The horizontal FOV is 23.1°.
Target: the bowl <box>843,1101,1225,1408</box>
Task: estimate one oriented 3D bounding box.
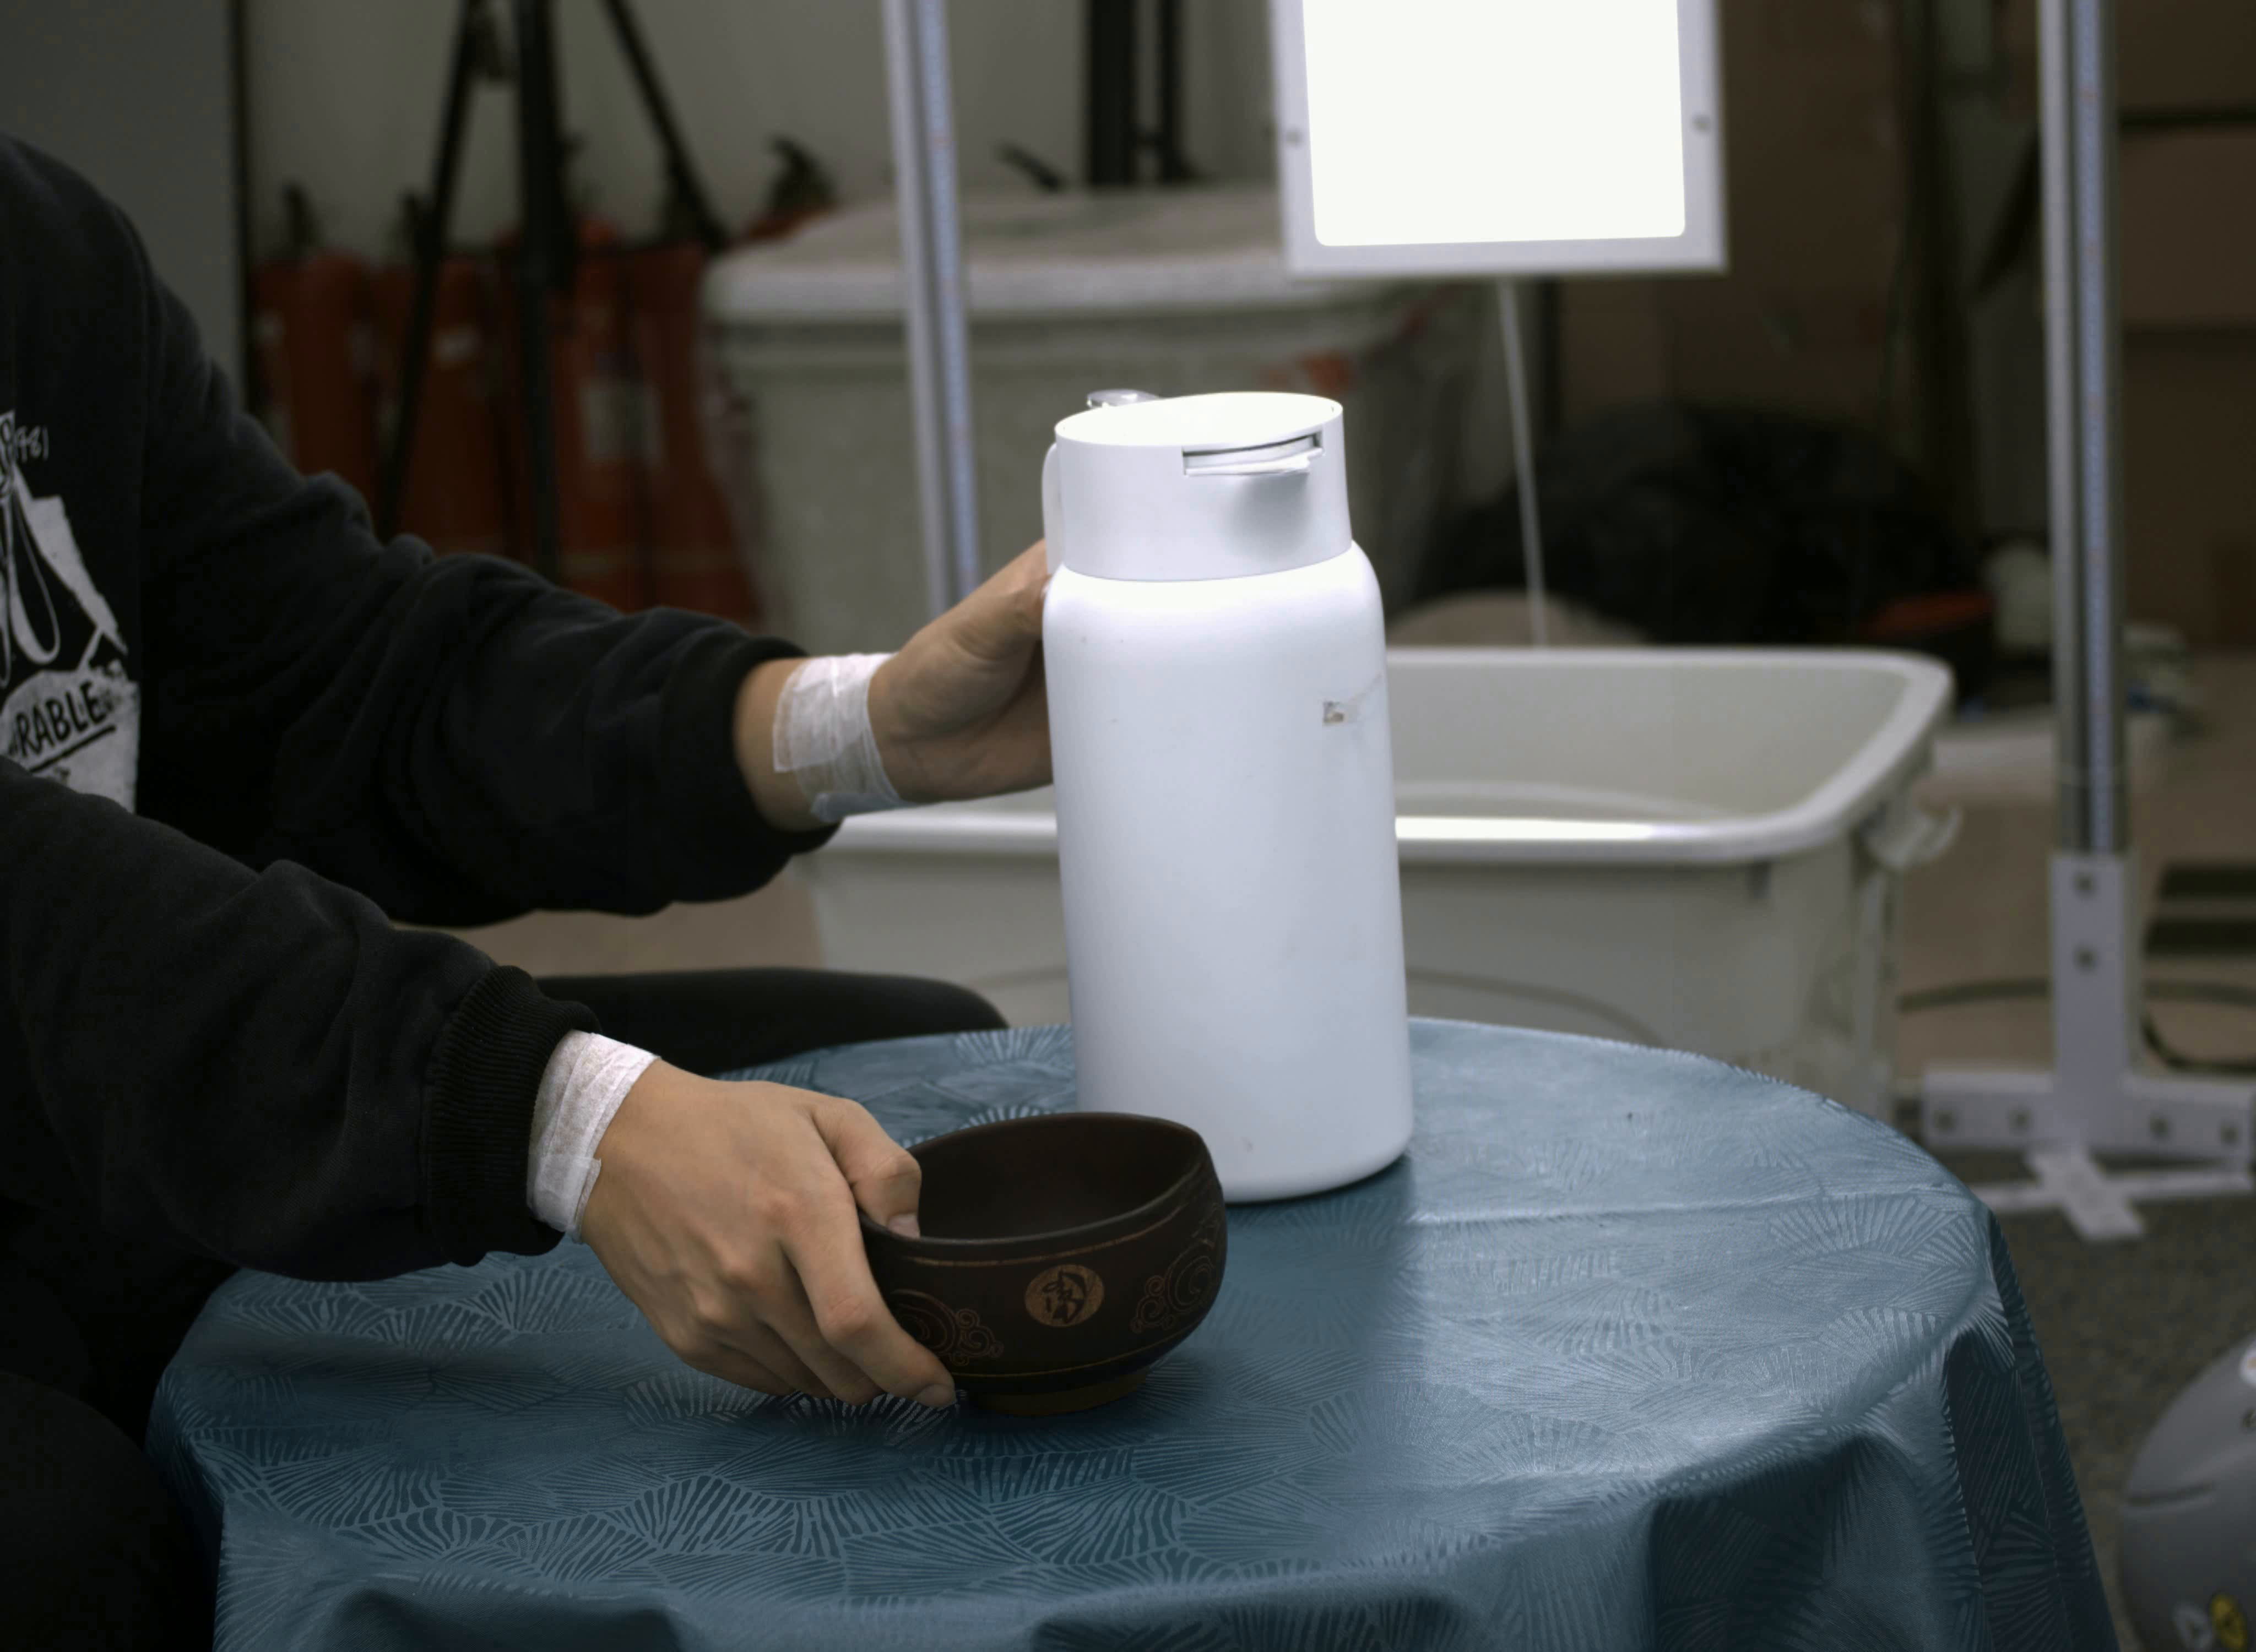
[{"bbox_3d":[-0.026,0.137,1.702,0.118,0.070,0.118,-8,16,1],"label":"bowl"}]

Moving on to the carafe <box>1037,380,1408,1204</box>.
[{"bbox_3d":[0.023,-0.015,1.904,0.121,0.270,0.175,-13,16,-24],"label":"carafe"}]
